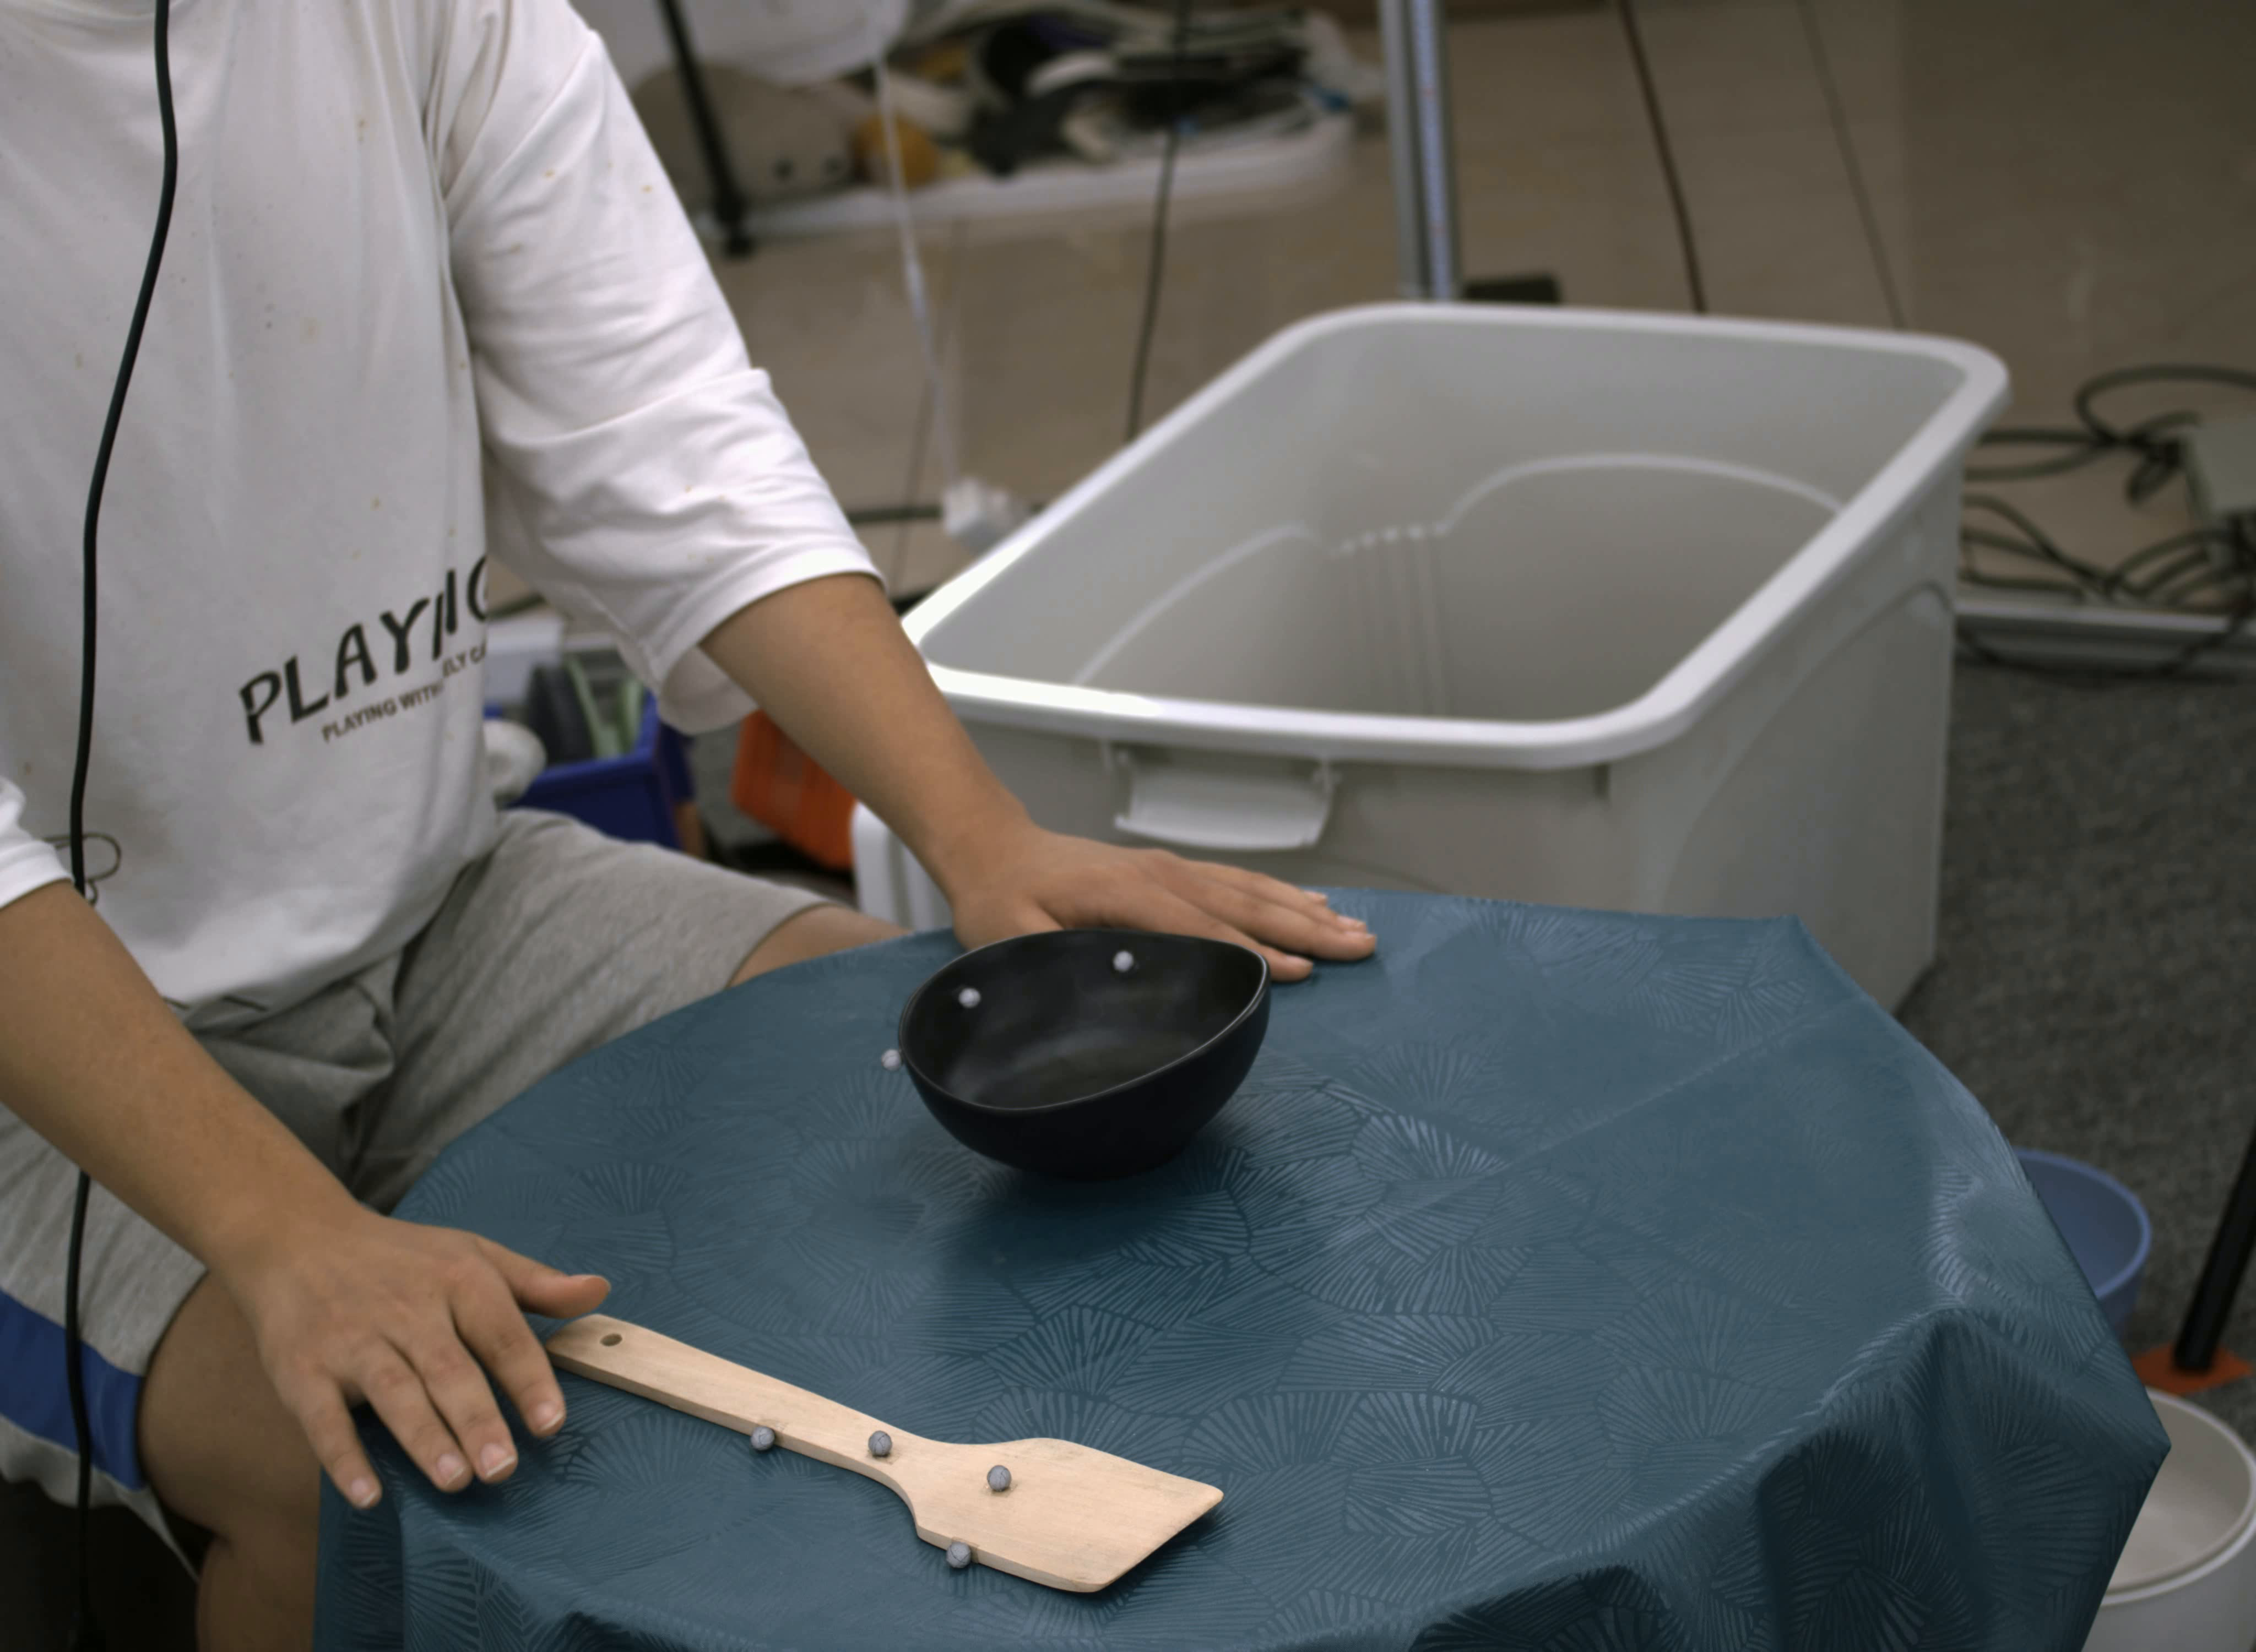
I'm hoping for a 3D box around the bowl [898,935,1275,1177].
[{"bbox_3d":[-0.013,0.092,2.174,0.137,0.068,0.168,6,26,26],"label":"bowl"}]

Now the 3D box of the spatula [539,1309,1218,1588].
[{"bbox_3d":[-0.100,0.214,1.998,0.291,0.011,0.071,14,33,38],"label":"spatula"}]
